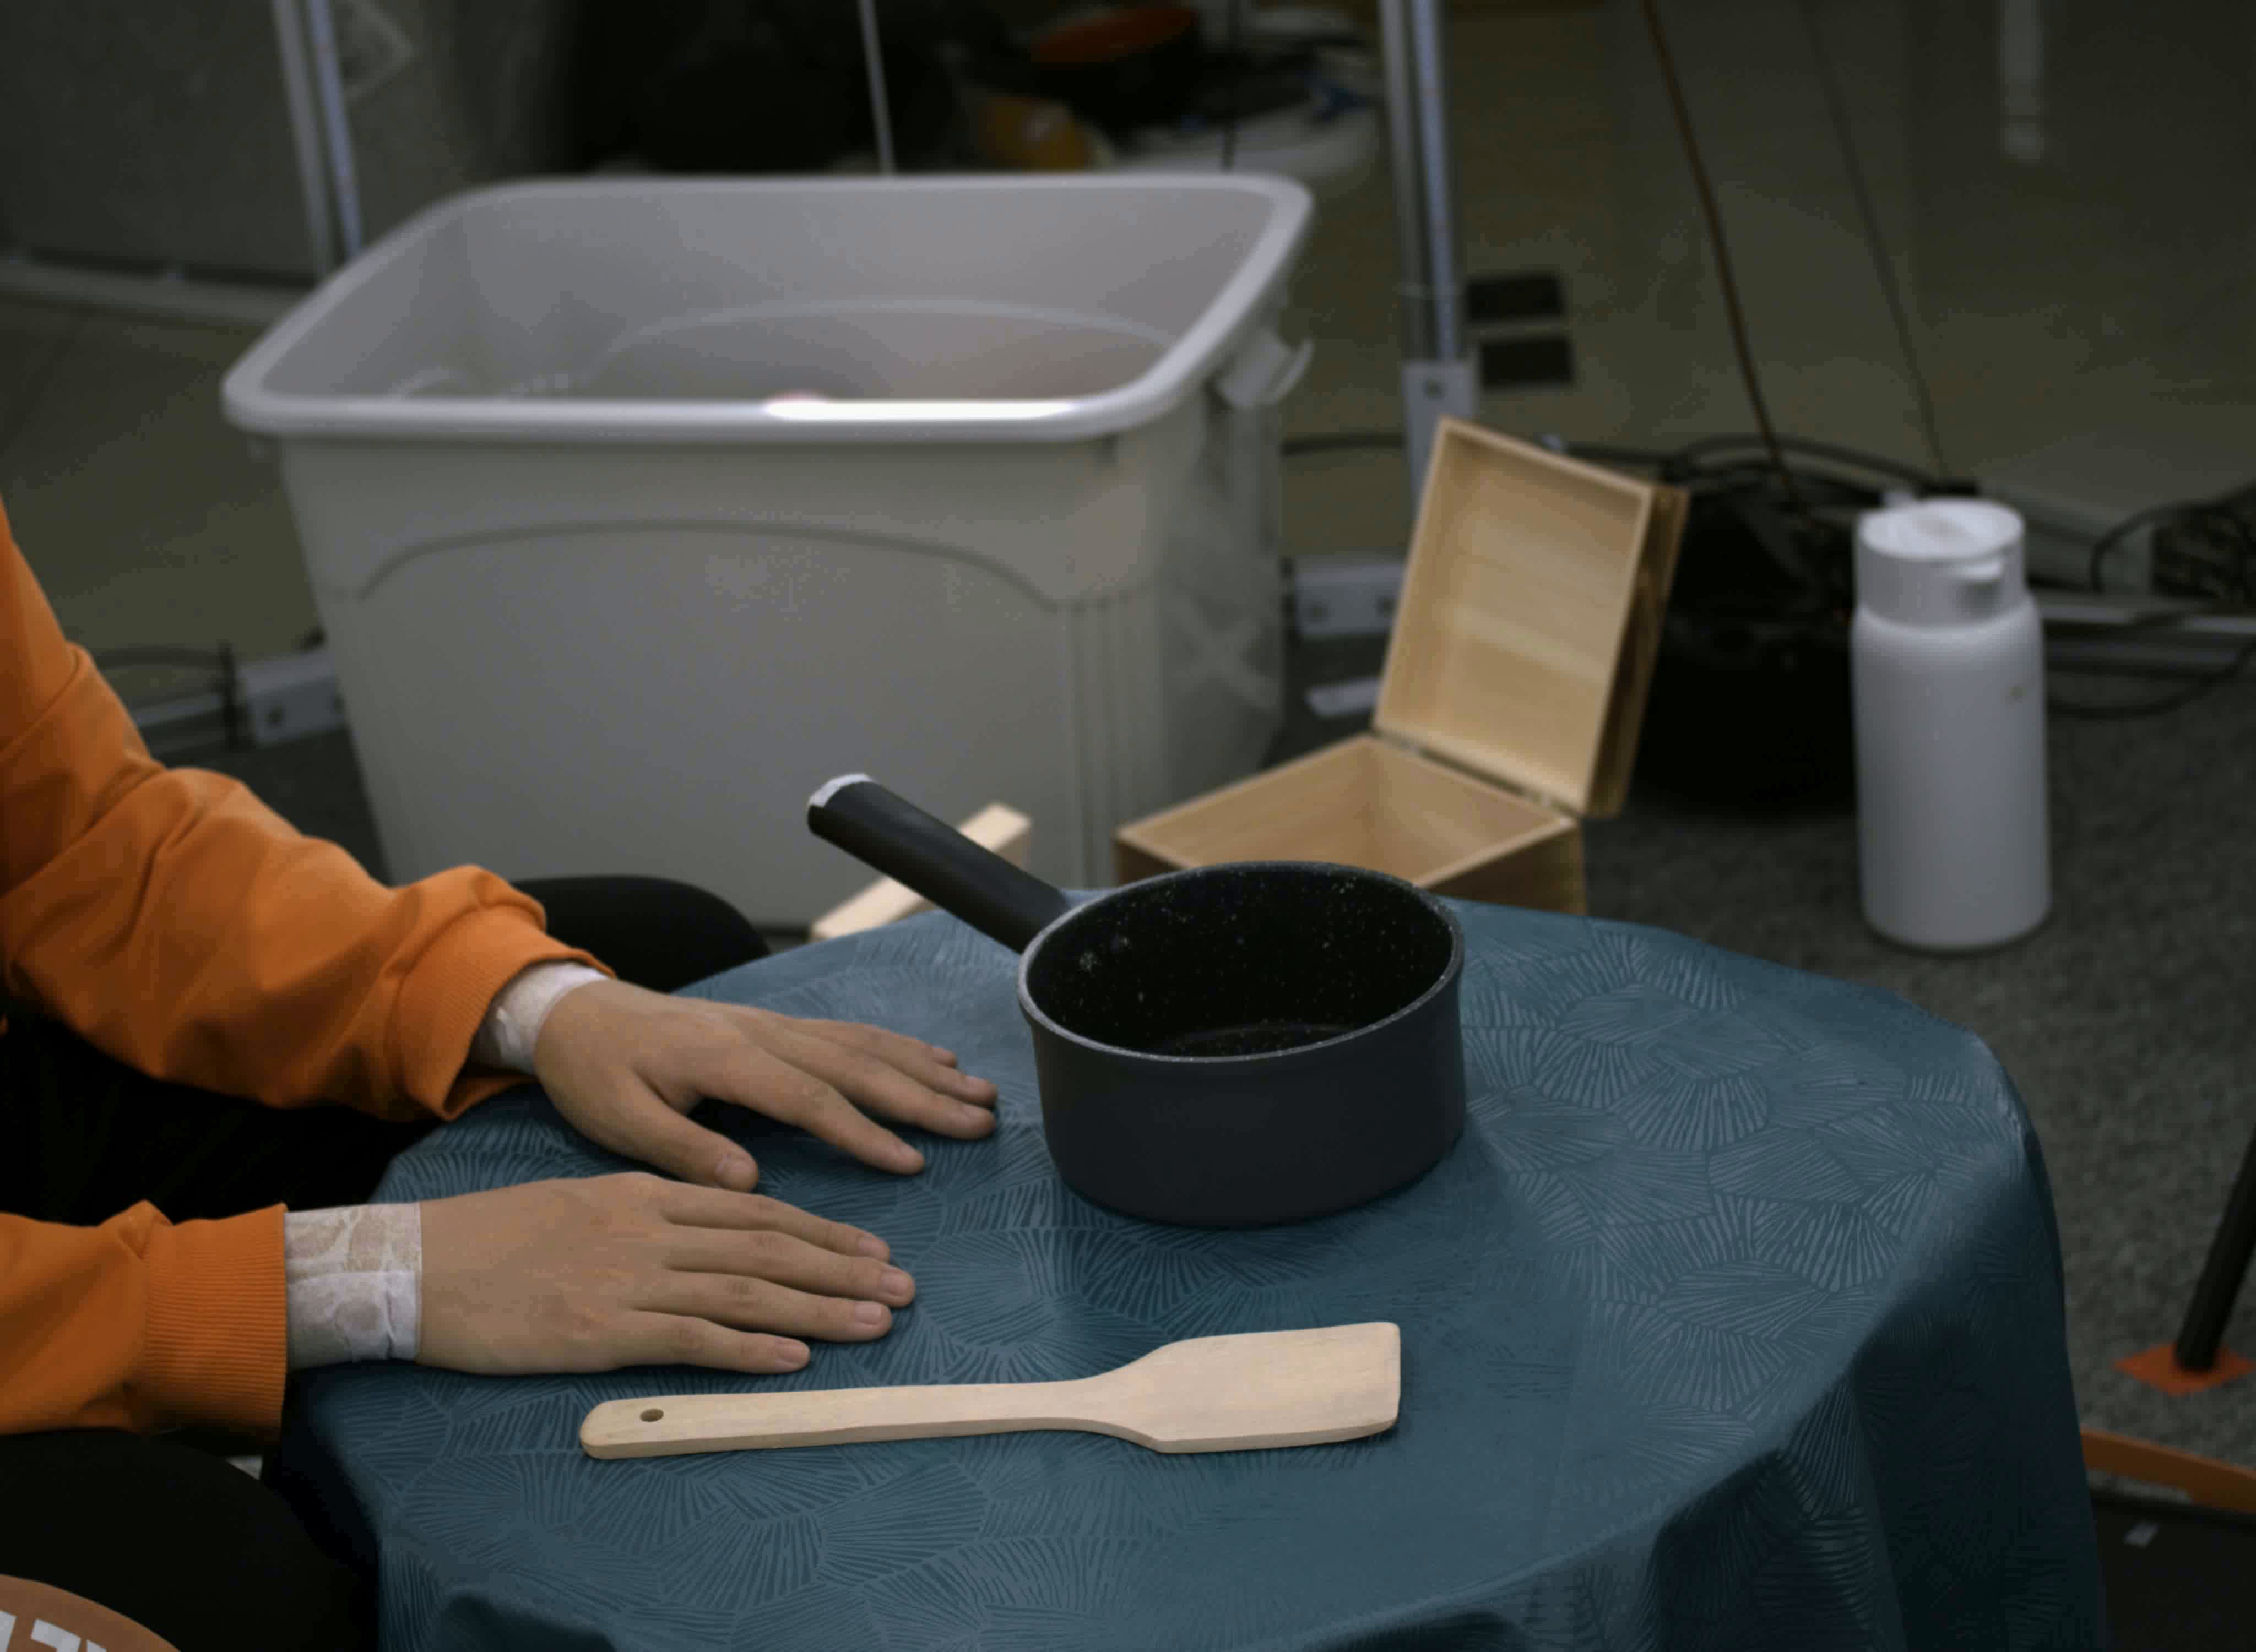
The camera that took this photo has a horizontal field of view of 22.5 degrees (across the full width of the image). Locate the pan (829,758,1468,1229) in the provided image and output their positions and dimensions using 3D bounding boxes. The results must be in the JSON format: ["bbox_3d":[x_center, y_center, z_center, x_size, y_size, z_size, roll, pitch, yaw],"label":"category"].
[{"bbox_3d":[-0.006,0.059,2.218,0.171,0.088,0.325,-24,32,-34],"label":"pan"}]

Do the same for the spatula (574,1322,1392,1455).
[{"bbox_3d":[-0.052,0.205,2.007,0.292,0.011,0.071,-4,29,6],"label":"spatula"}]
